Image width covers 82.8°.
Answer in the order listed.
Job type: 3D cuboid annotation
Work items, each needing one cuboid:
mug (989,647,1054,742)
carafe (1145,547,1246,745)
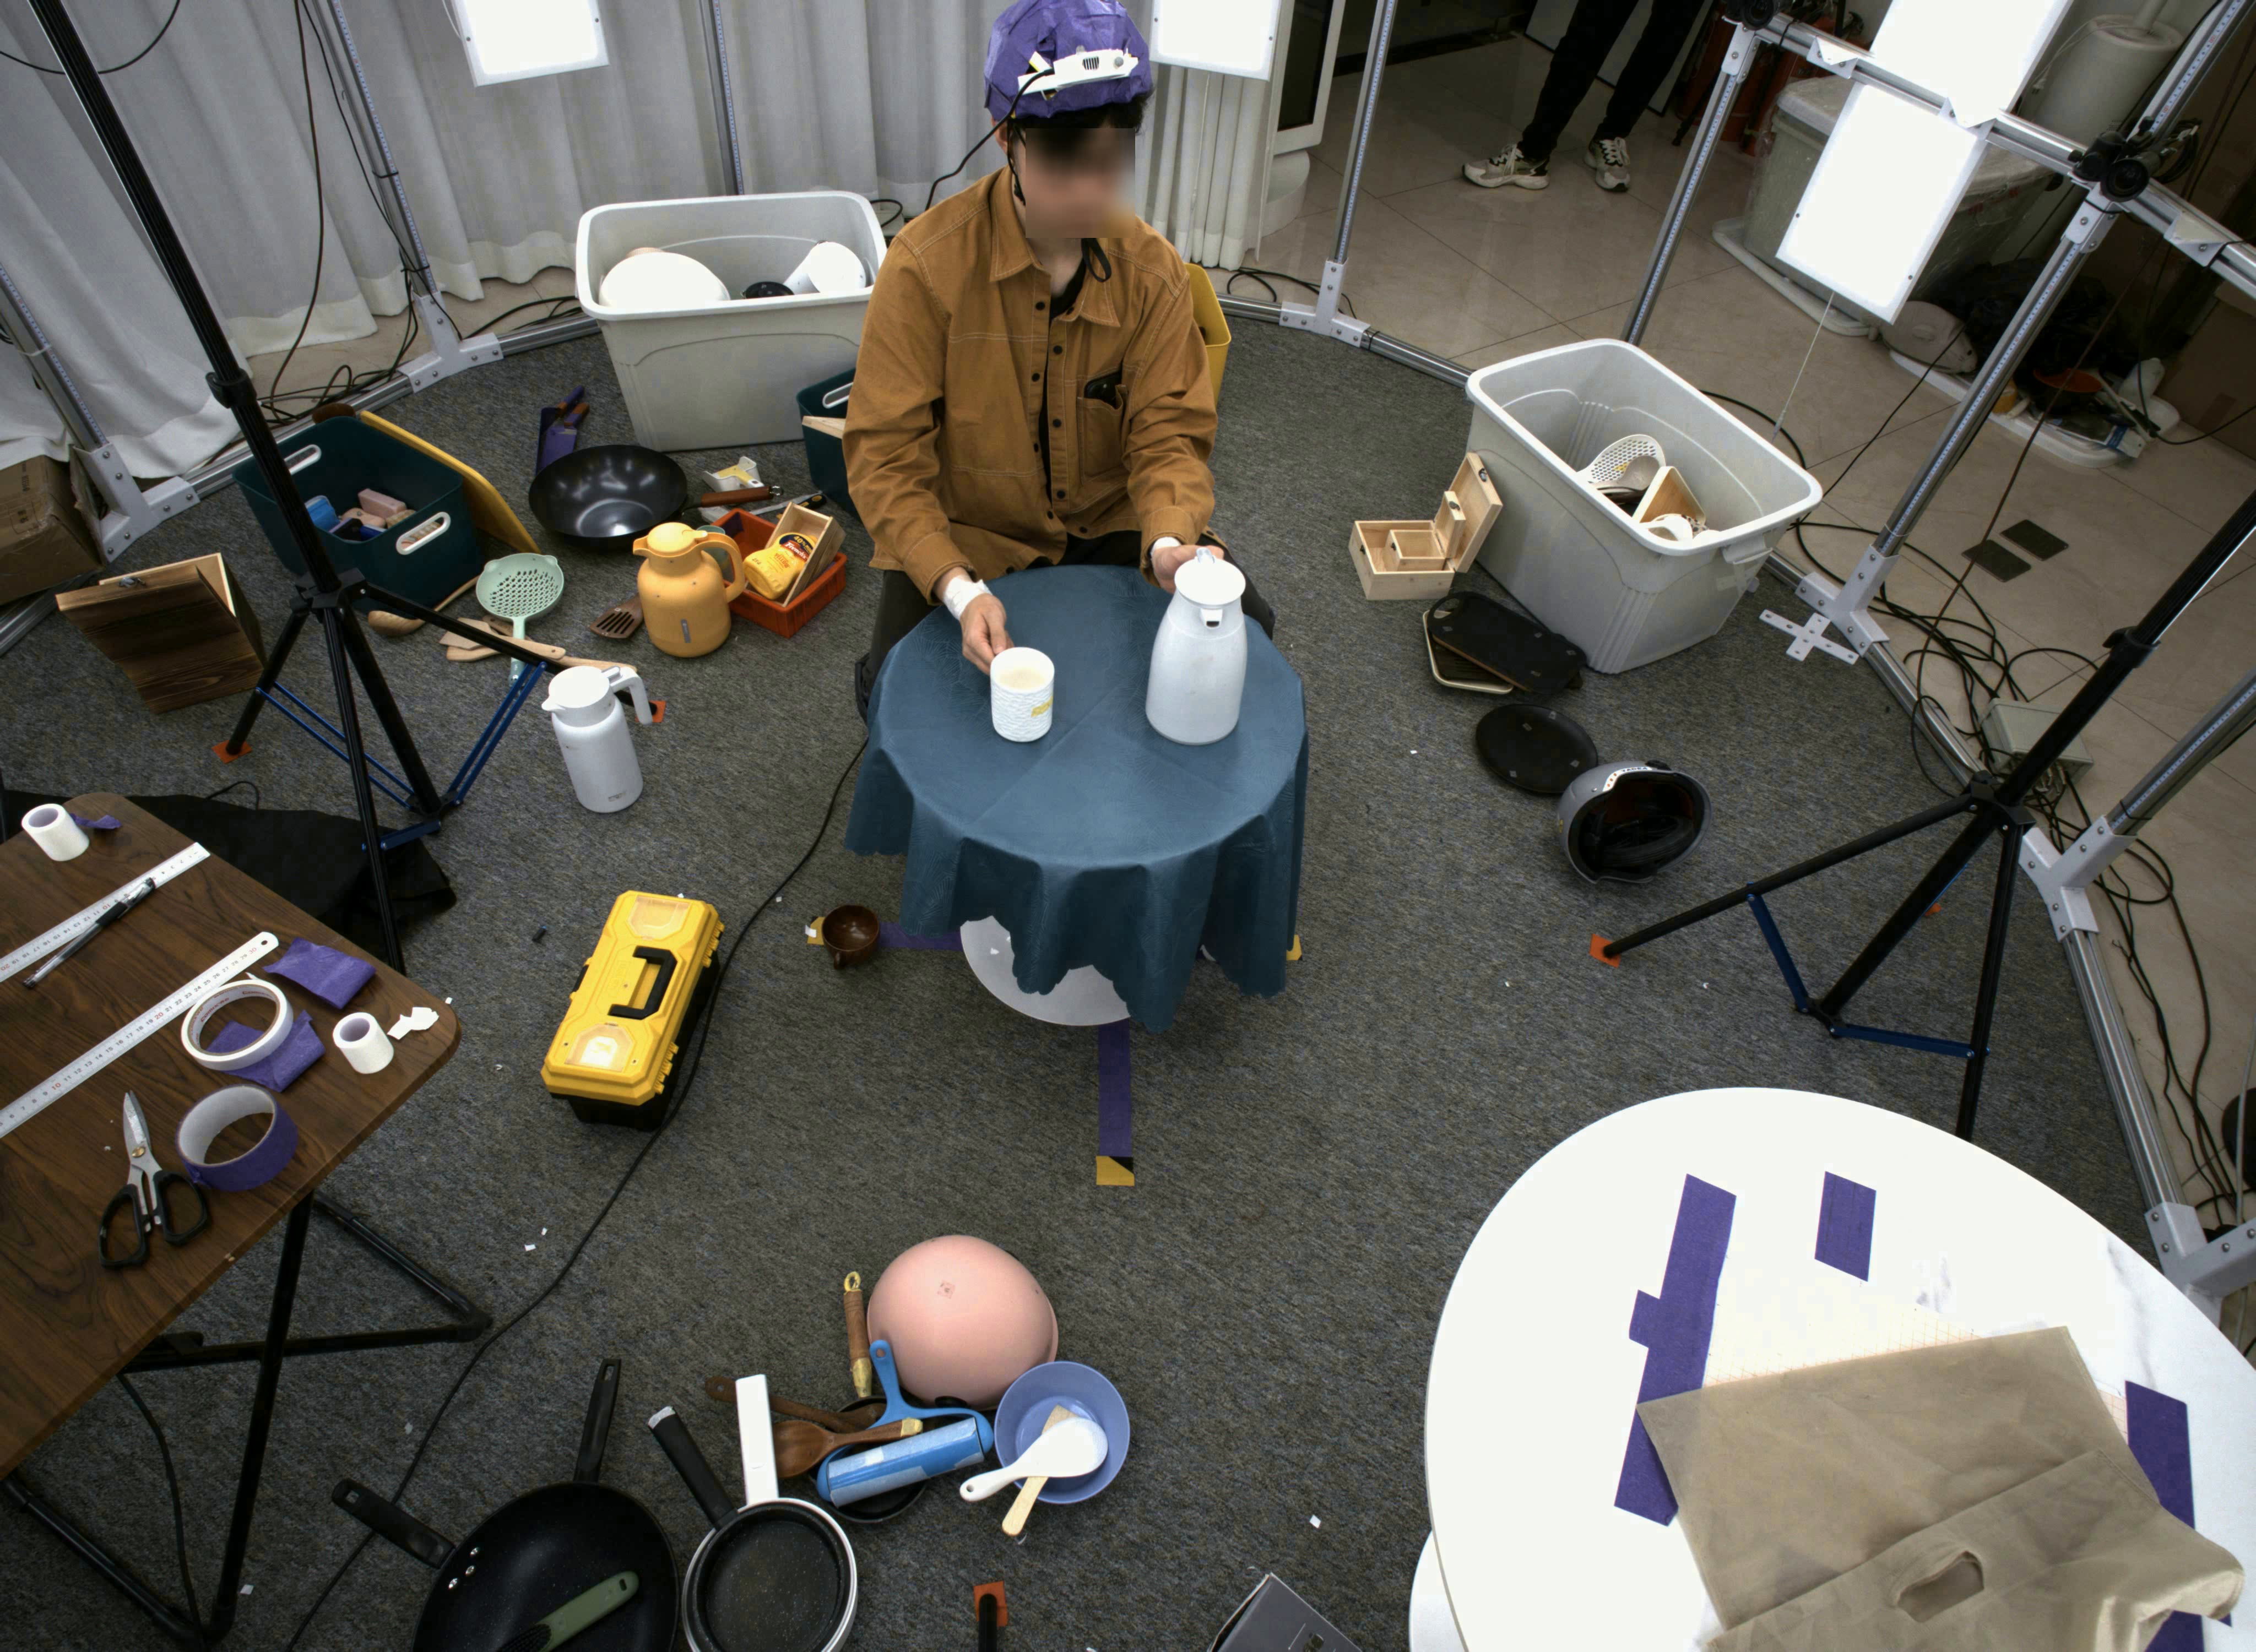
[{"bbox_3d":[-0.153,-0.188,1.756,0.085,0.099,0.120,-24,55,-22],"label":"mug"},{"bbox_3d":[0.094,-0.255,1.736,0.132,0.242,0.172,-2,49,-5],"label":"carafe"}]
